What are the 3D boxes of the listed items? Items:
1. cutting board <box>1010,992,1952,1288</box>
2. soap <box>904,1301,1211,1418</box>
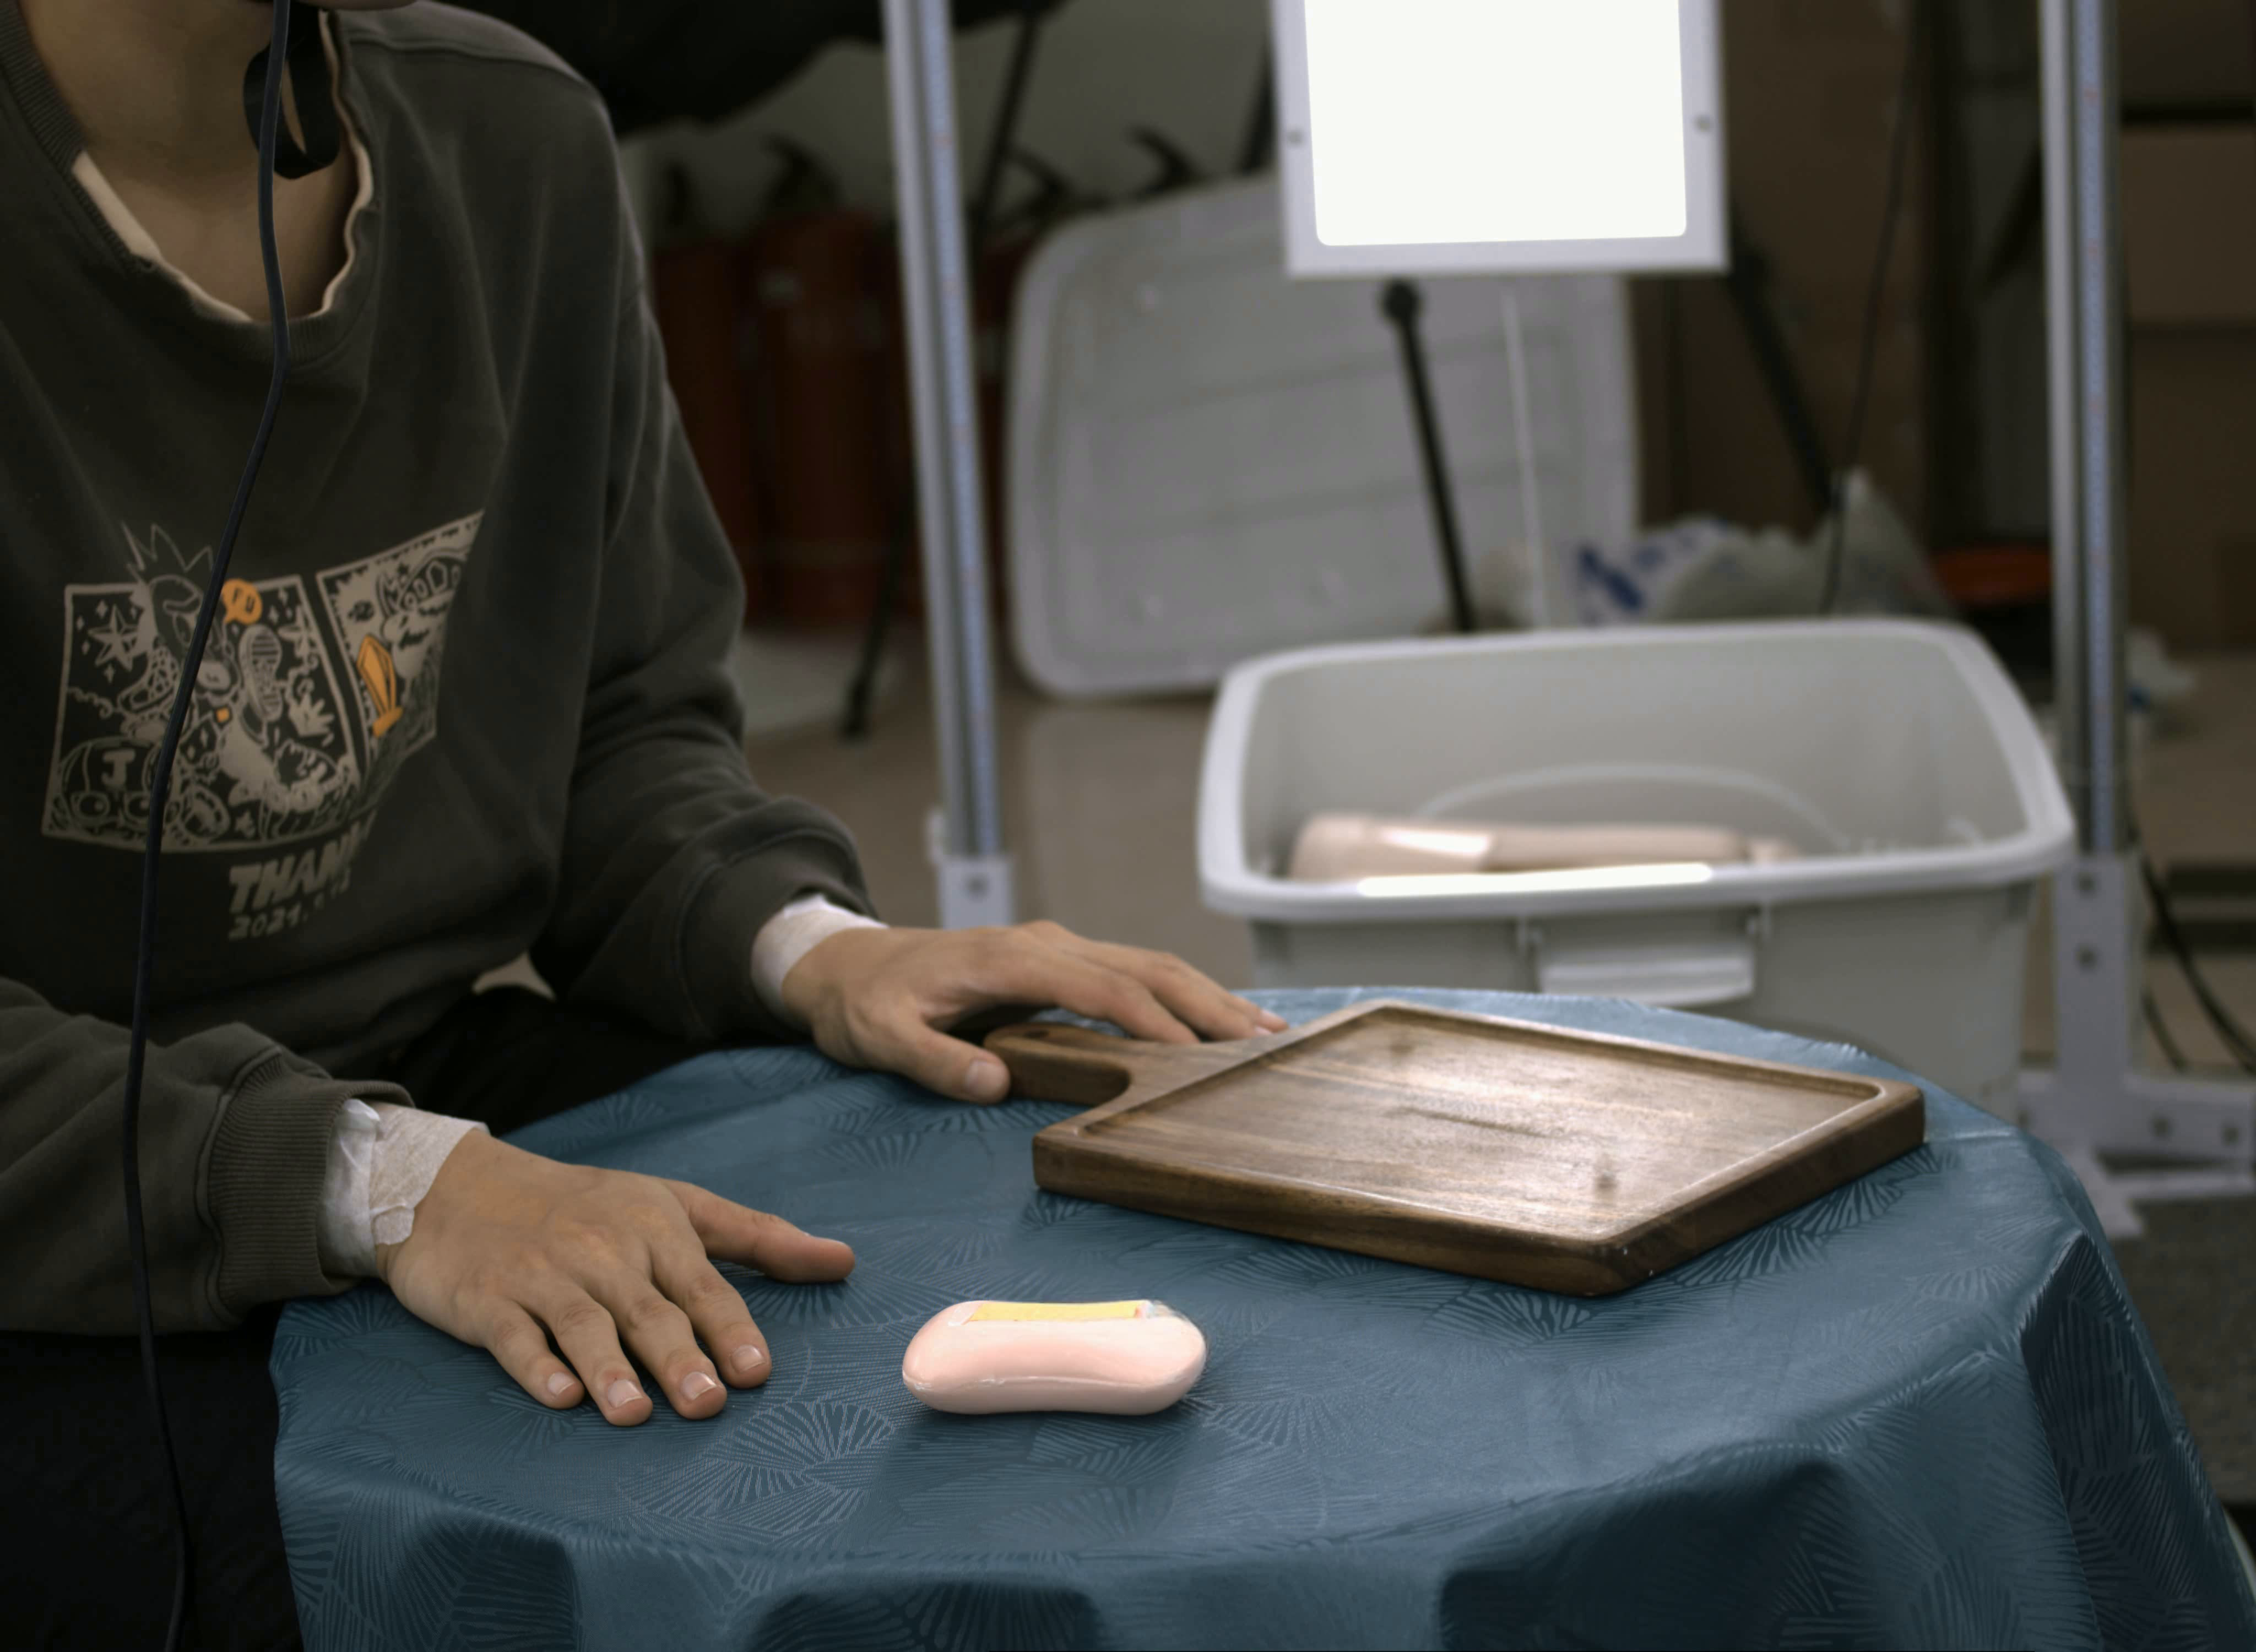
[{"bbox_3d":[0.094,0.099,1.930,0.360,0.023,0.196,8,19,43],"label":"cutting board"},{"bbox_3d":[-0.021,0.164,1.694,0.095,0.030,0.049,-3,13,16],"label":"soap"}]
